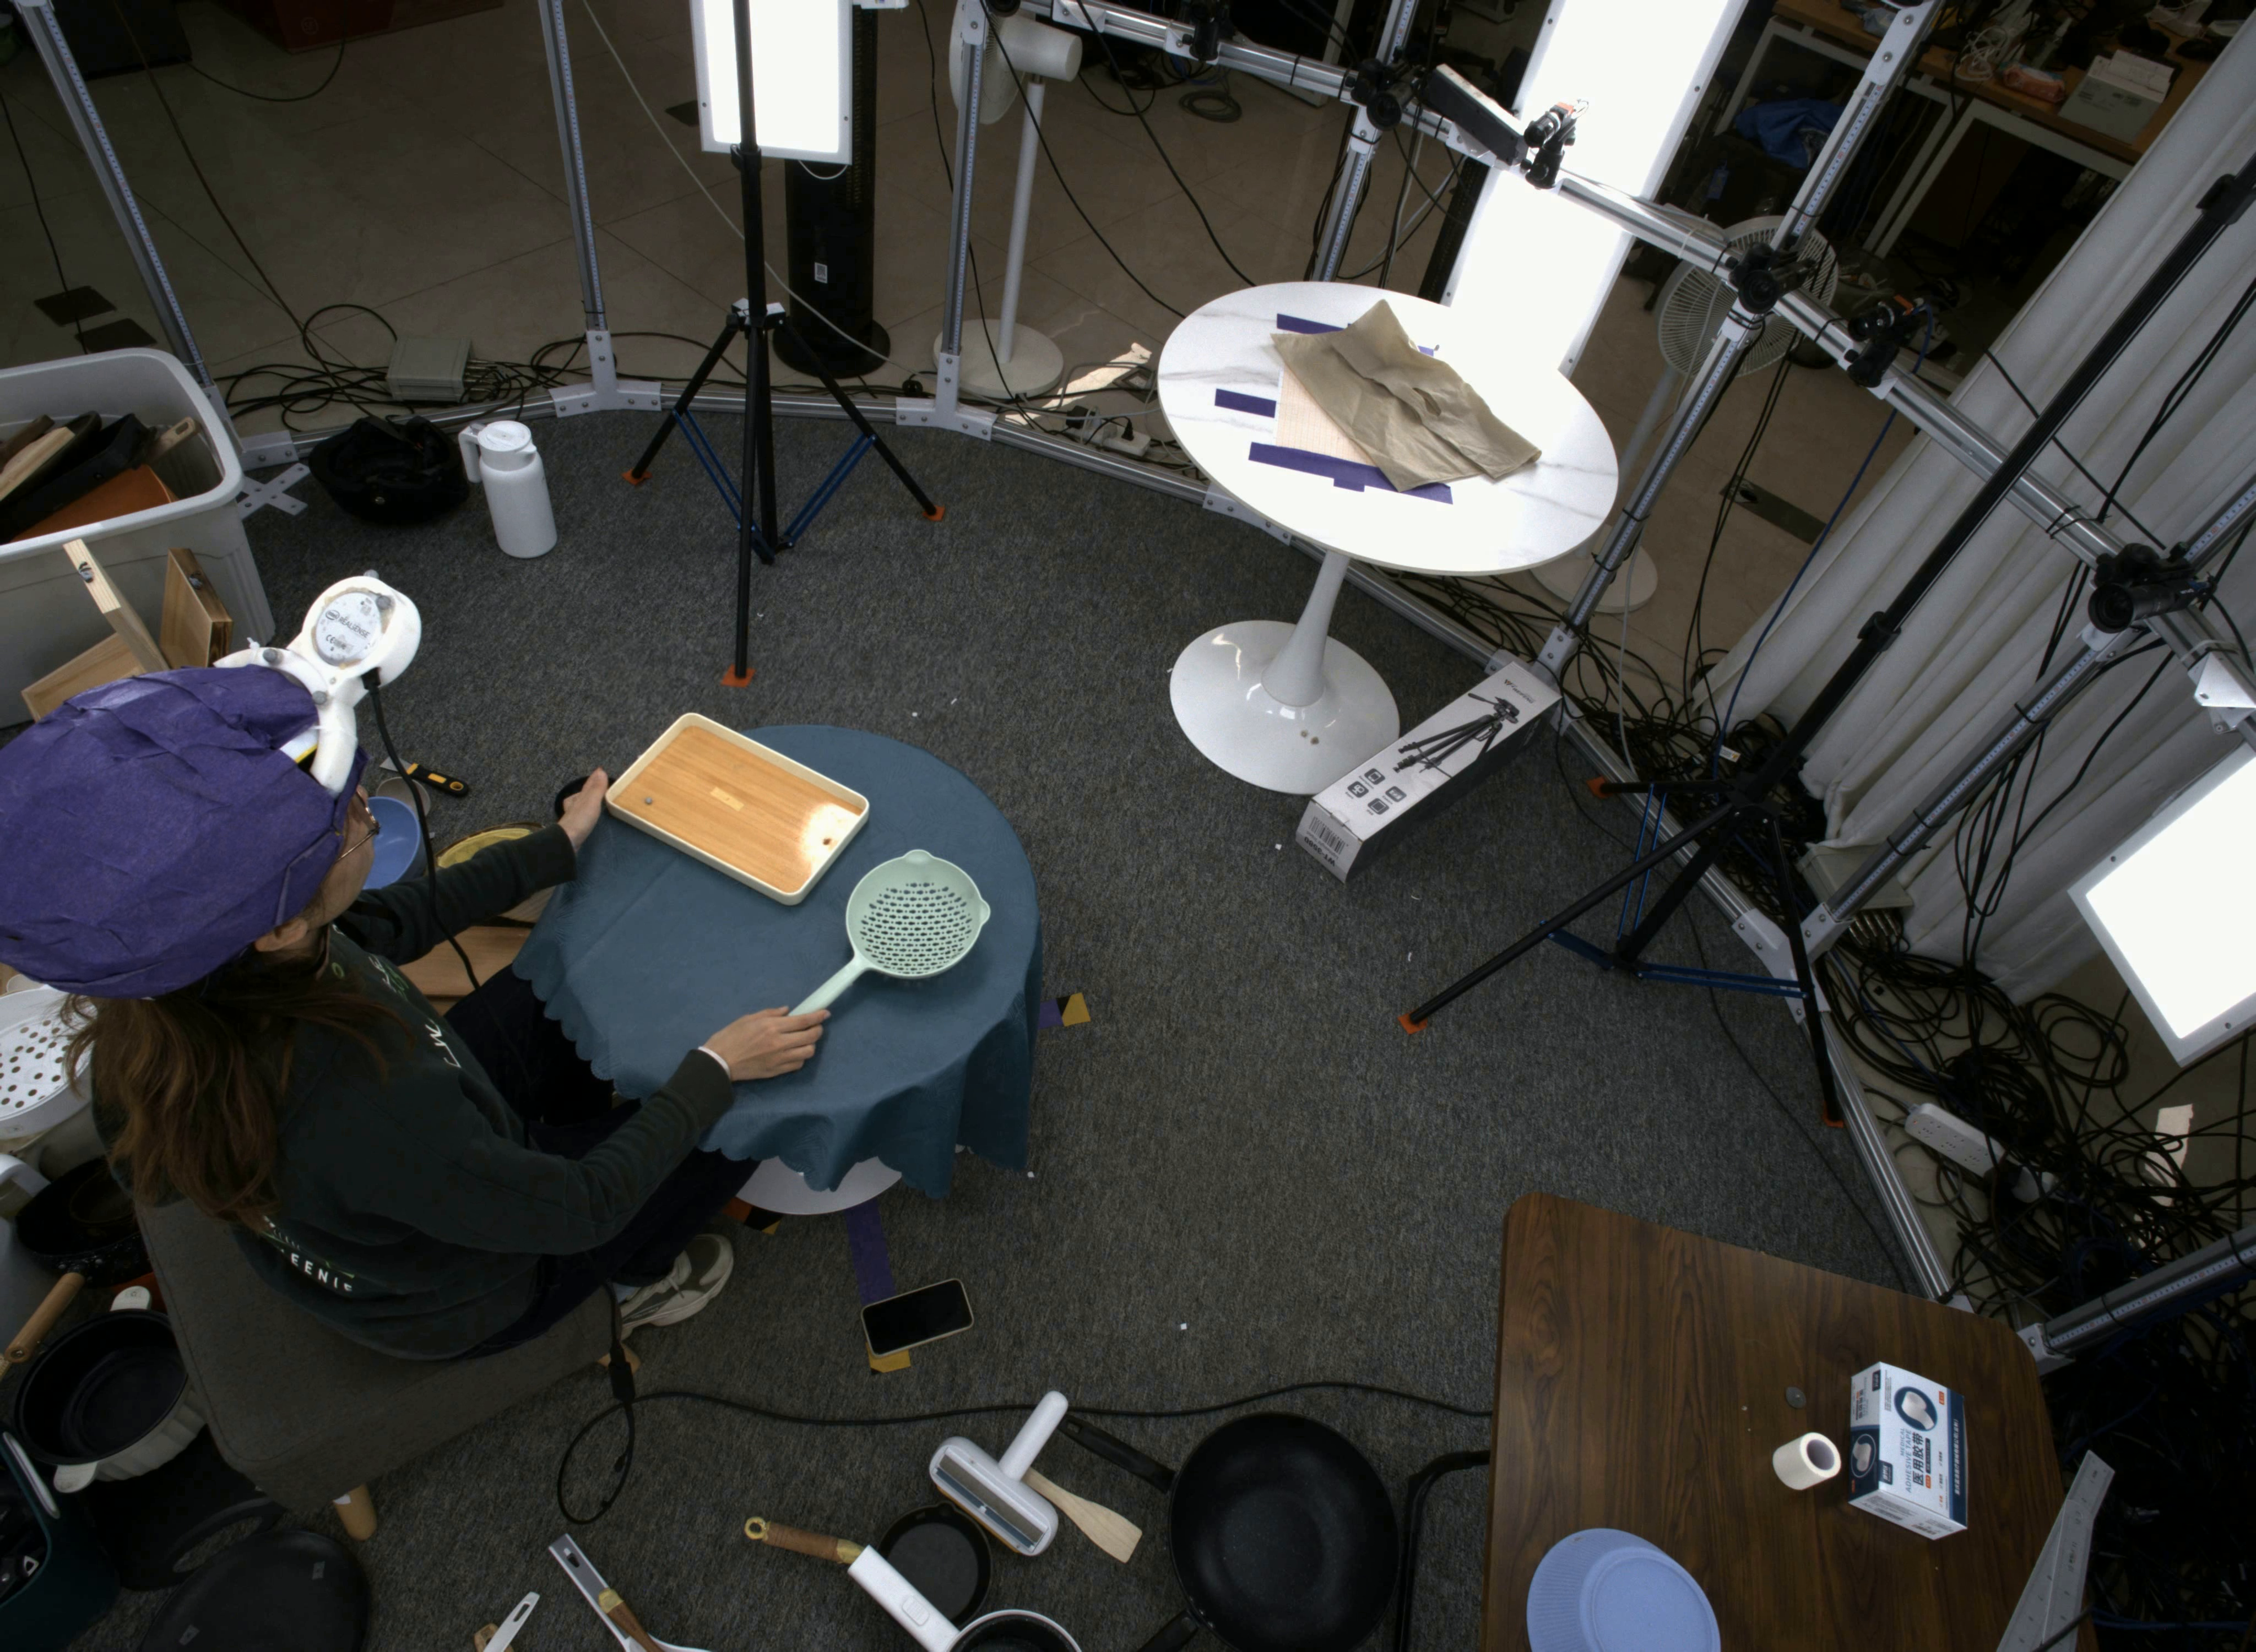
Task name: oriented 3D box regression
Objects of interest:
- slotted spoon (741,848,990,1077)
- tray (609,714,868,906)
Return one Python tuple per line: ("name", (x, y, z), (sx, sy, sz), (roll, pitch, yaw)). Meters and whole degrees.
("slotted spoon", (-0.330, 0.172, 1.584), (0.165, 0.077, 0.359), (39, 54, 17))
("tray", (-0.515, -0.027, 1.708), (0.296, 0.028, 0.190), (26, 52, 6))
